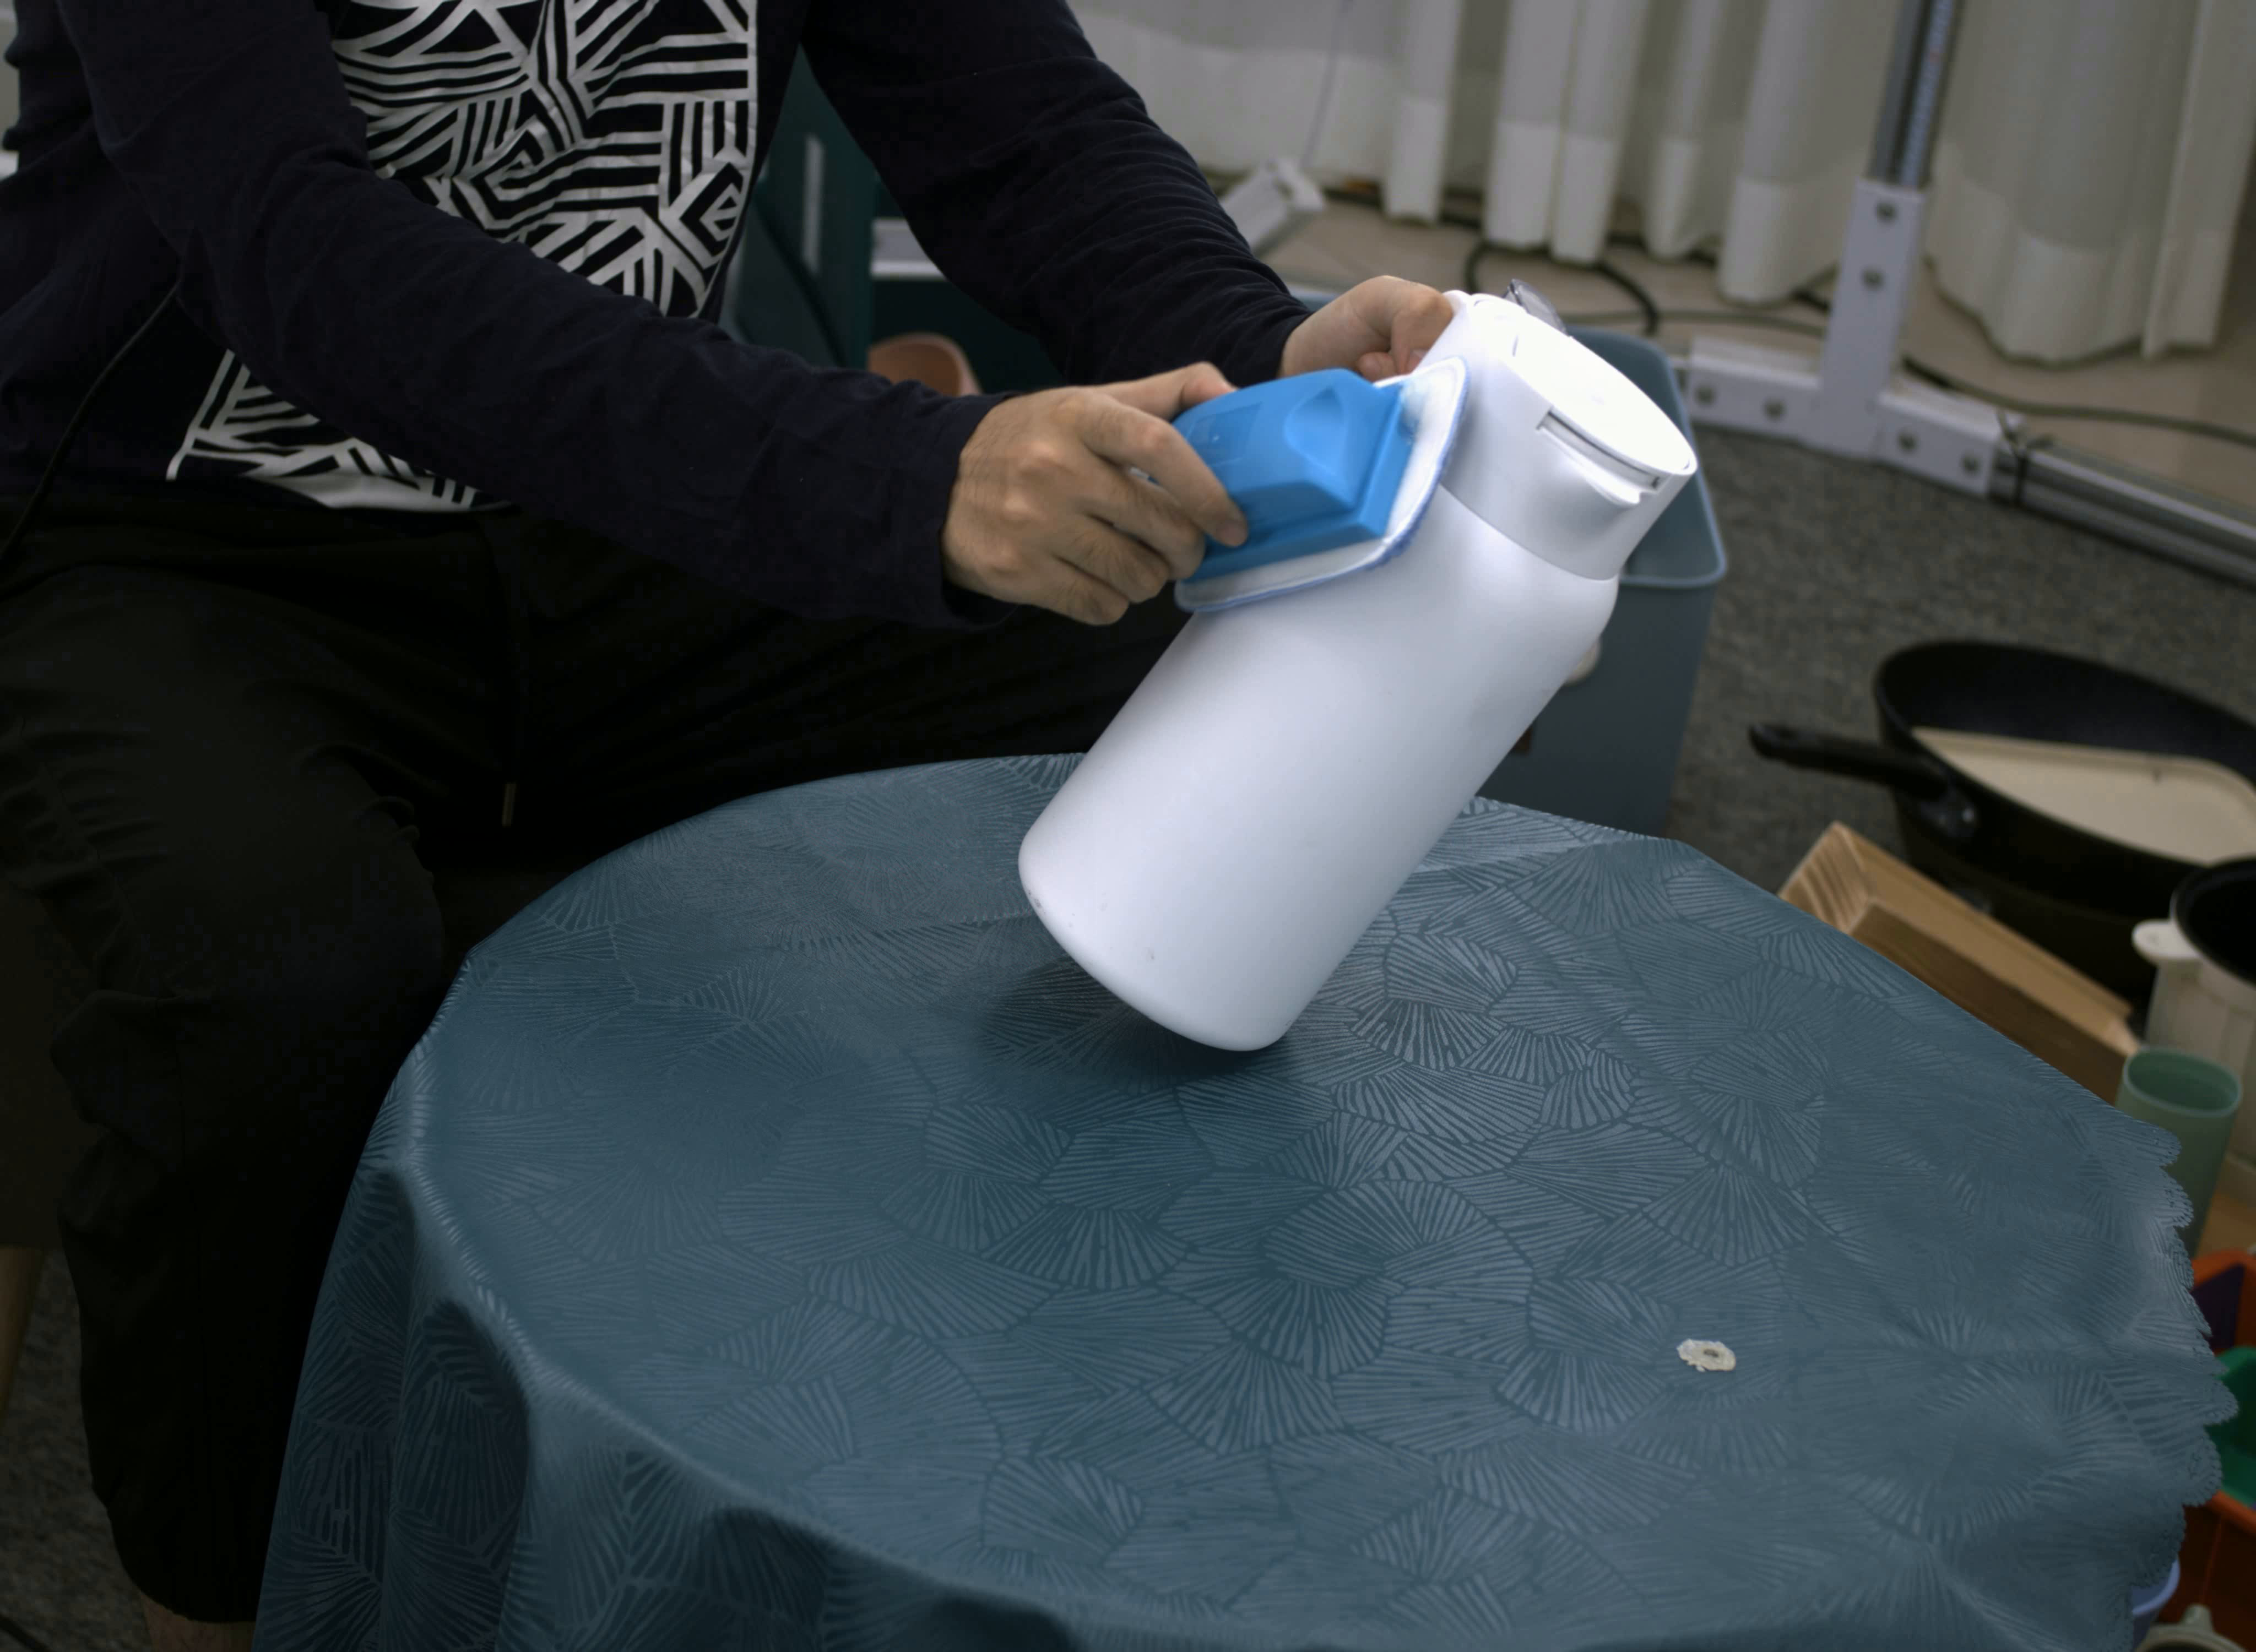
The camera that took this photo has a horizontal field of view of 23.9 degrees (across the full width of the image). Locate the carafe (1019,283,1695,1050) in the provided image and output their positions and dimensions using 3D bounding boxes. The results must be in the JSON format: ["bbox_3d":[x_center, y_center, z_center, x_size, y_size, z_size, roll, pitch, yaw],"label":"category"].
[{"bbox_3d":[0.075,-0.064,1.878,0.123,0.268,0.174,24,23,-27],"label":"carafe"}]

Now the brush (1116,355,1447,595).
[{"bbox_3d":[0.044,-0.125,1.803,0.055,0.084,0.144,32,-19,-28],"label":"brush"}]
